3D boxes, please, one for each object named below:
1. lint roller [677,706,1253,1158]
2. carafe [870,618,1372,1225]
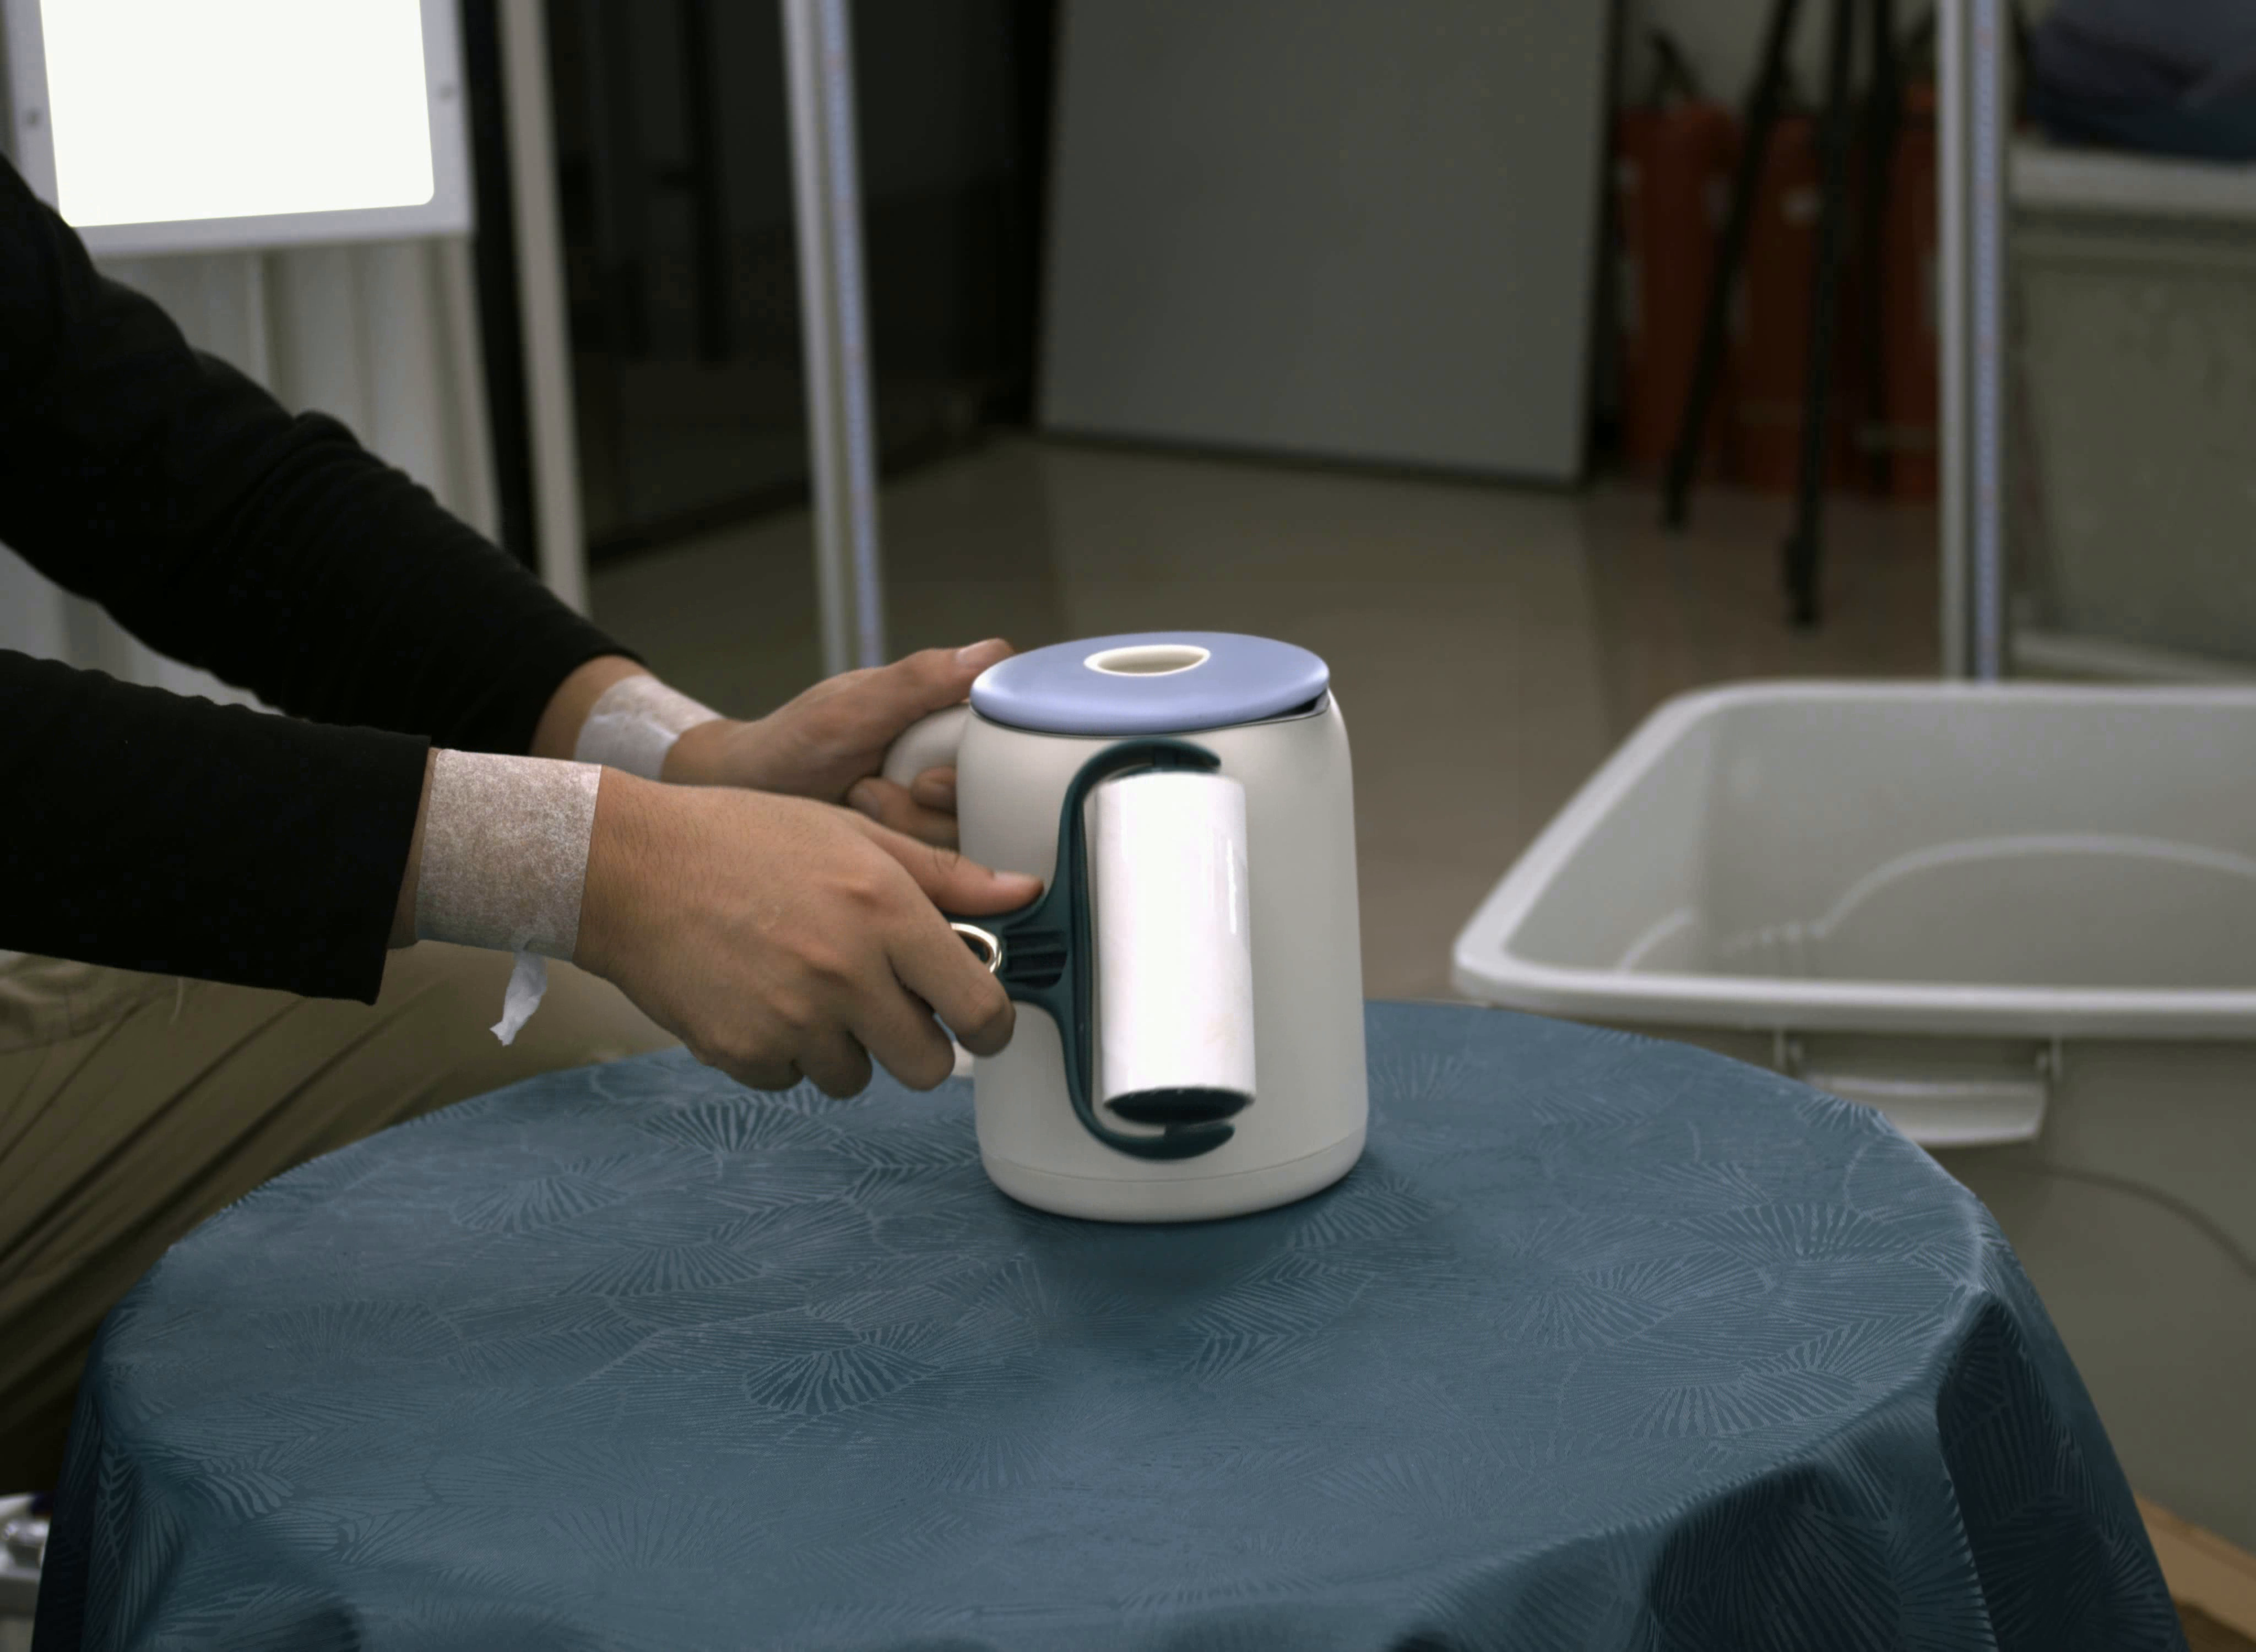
[{"bbox_3d":[-0.053,0.038,1.656,0.178,0.136,0.048,-4,-14,4],"label":"lint roller"},{"bbox_3d":[-0.008,0.029,1.785,0.192,0.184,0.130,4,15,37],"label":"carafe"}]
